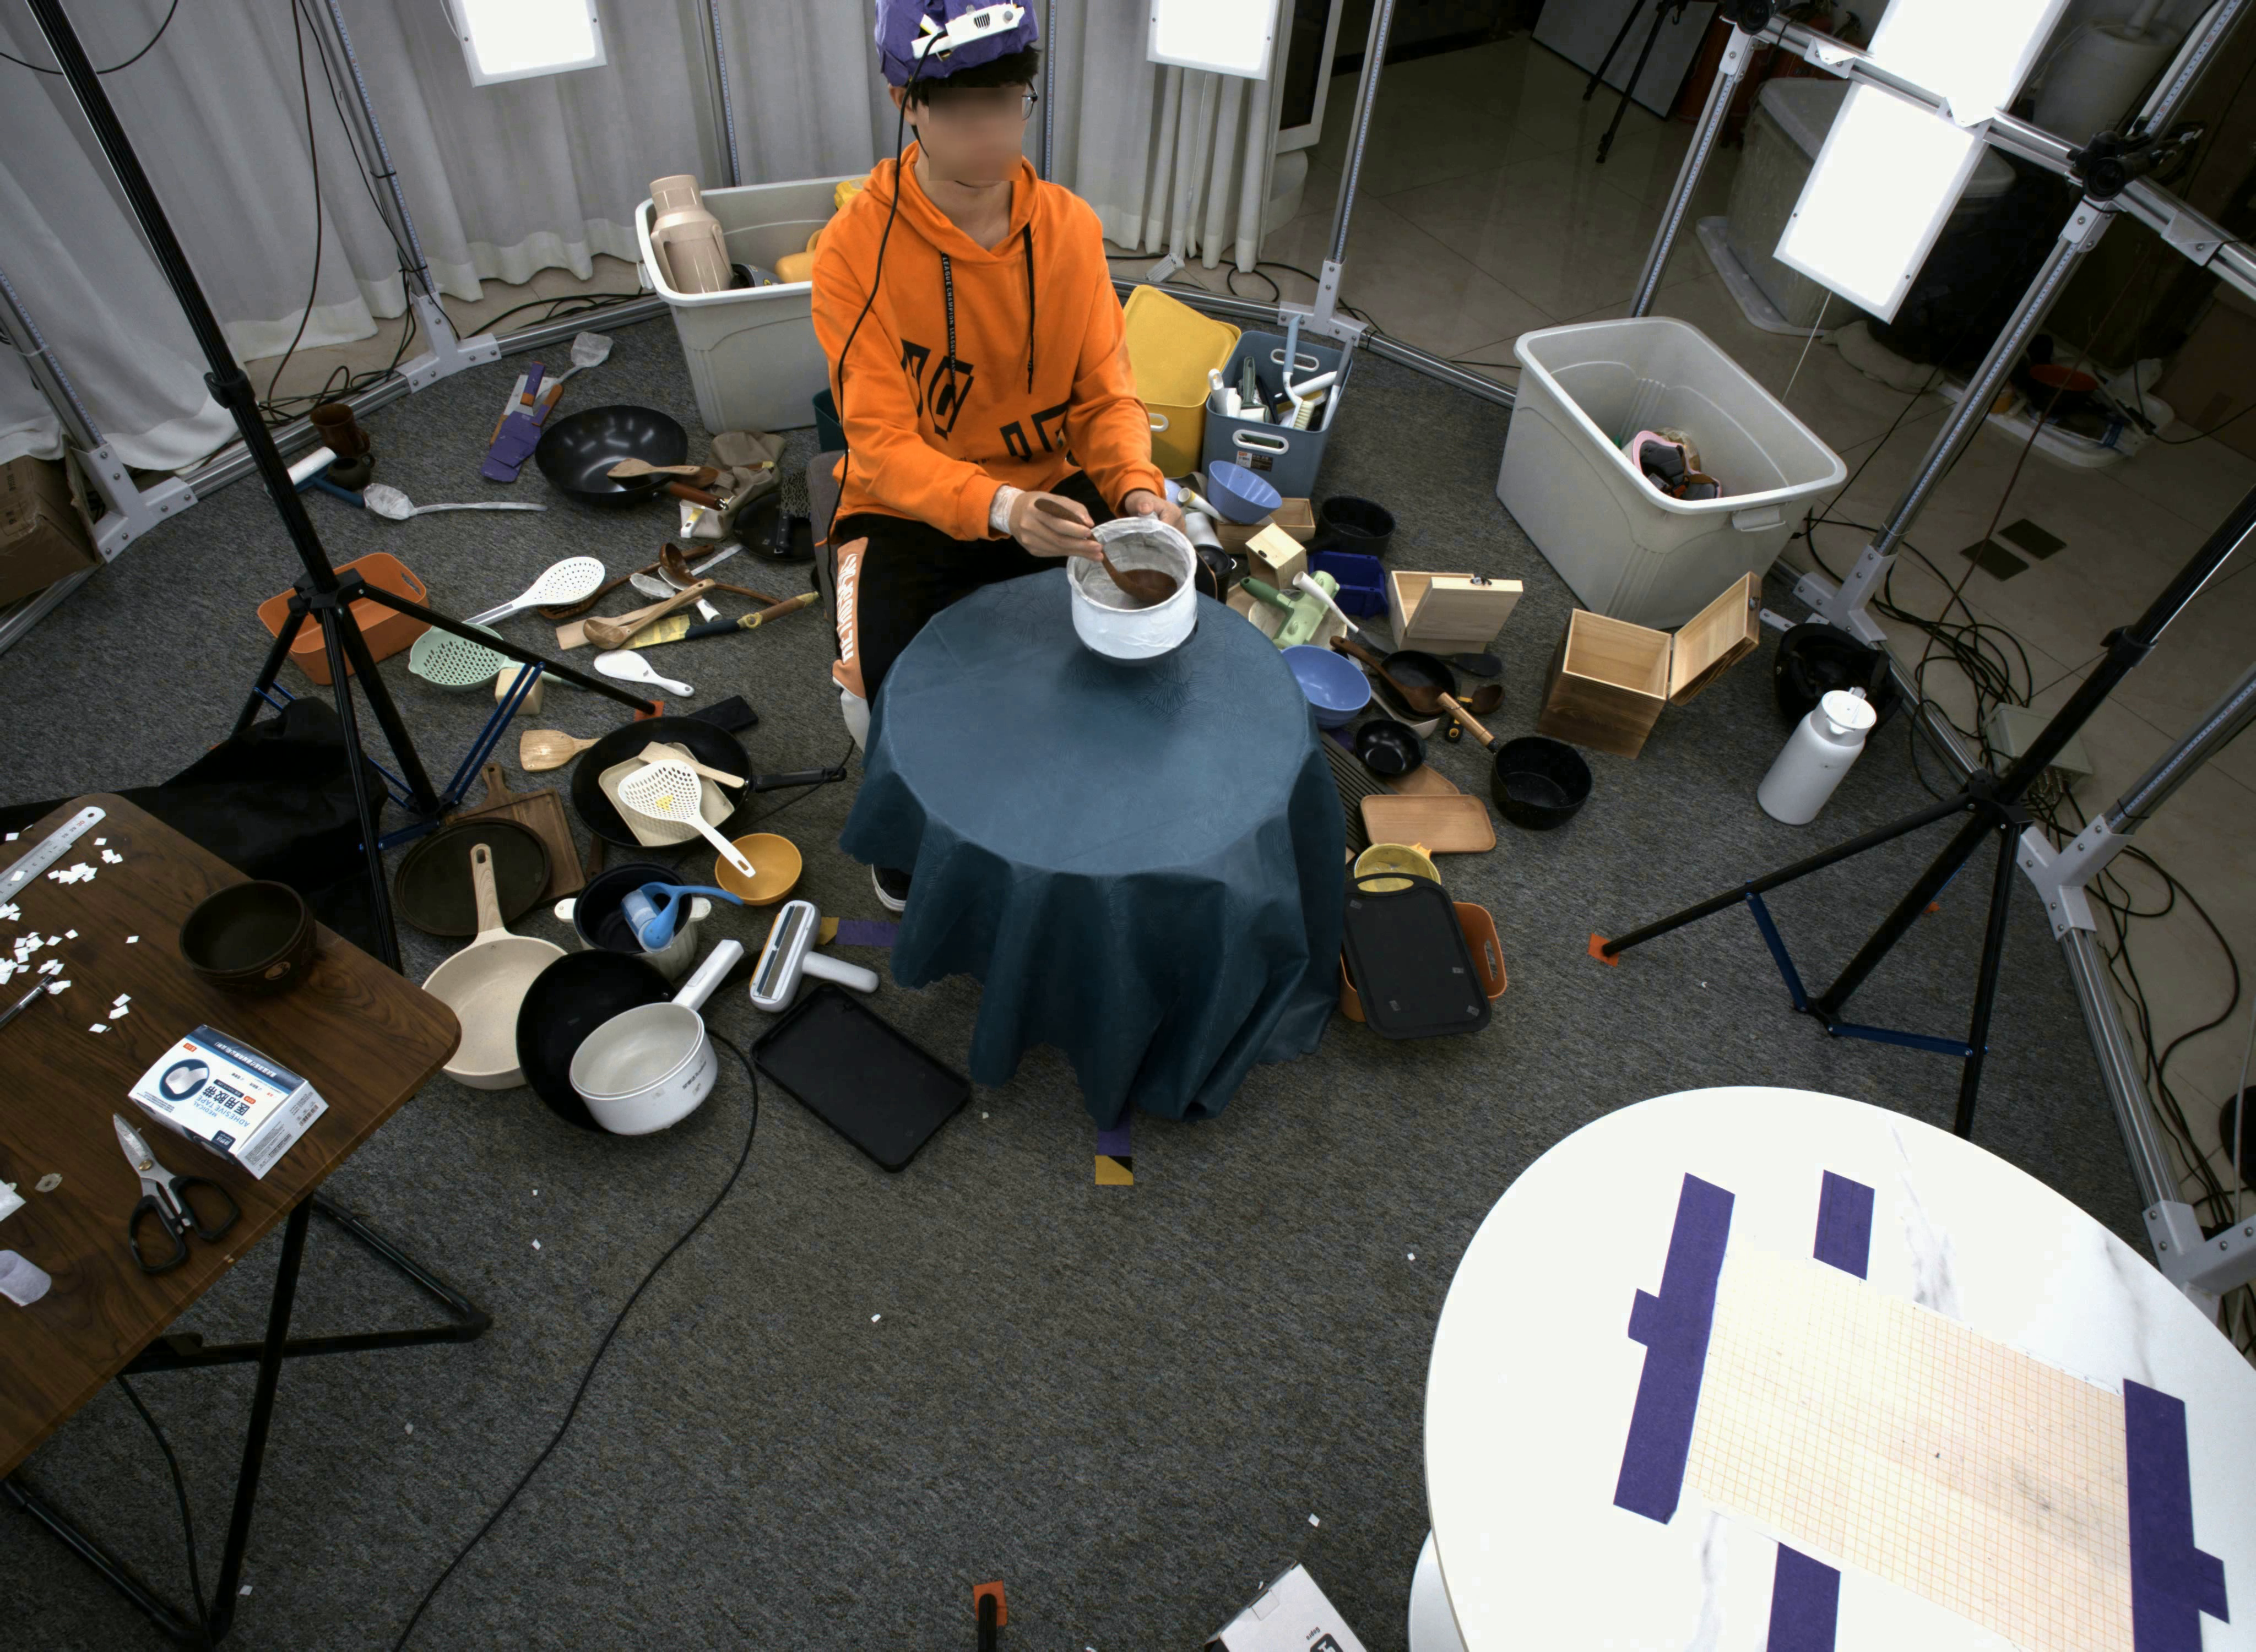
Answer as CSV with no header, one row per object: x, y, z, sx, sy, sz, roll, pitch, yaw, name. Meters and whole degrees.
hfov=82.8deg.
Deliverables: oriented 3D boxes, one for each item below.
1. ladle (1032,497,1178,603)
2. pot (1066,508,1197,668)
-0.027,-0.379,1.731,0.065,0.255,0.078,-51,42,2,ladle
0.013,-0.344,1.810,0.179,0.133,0.239,7,57,8,pot
